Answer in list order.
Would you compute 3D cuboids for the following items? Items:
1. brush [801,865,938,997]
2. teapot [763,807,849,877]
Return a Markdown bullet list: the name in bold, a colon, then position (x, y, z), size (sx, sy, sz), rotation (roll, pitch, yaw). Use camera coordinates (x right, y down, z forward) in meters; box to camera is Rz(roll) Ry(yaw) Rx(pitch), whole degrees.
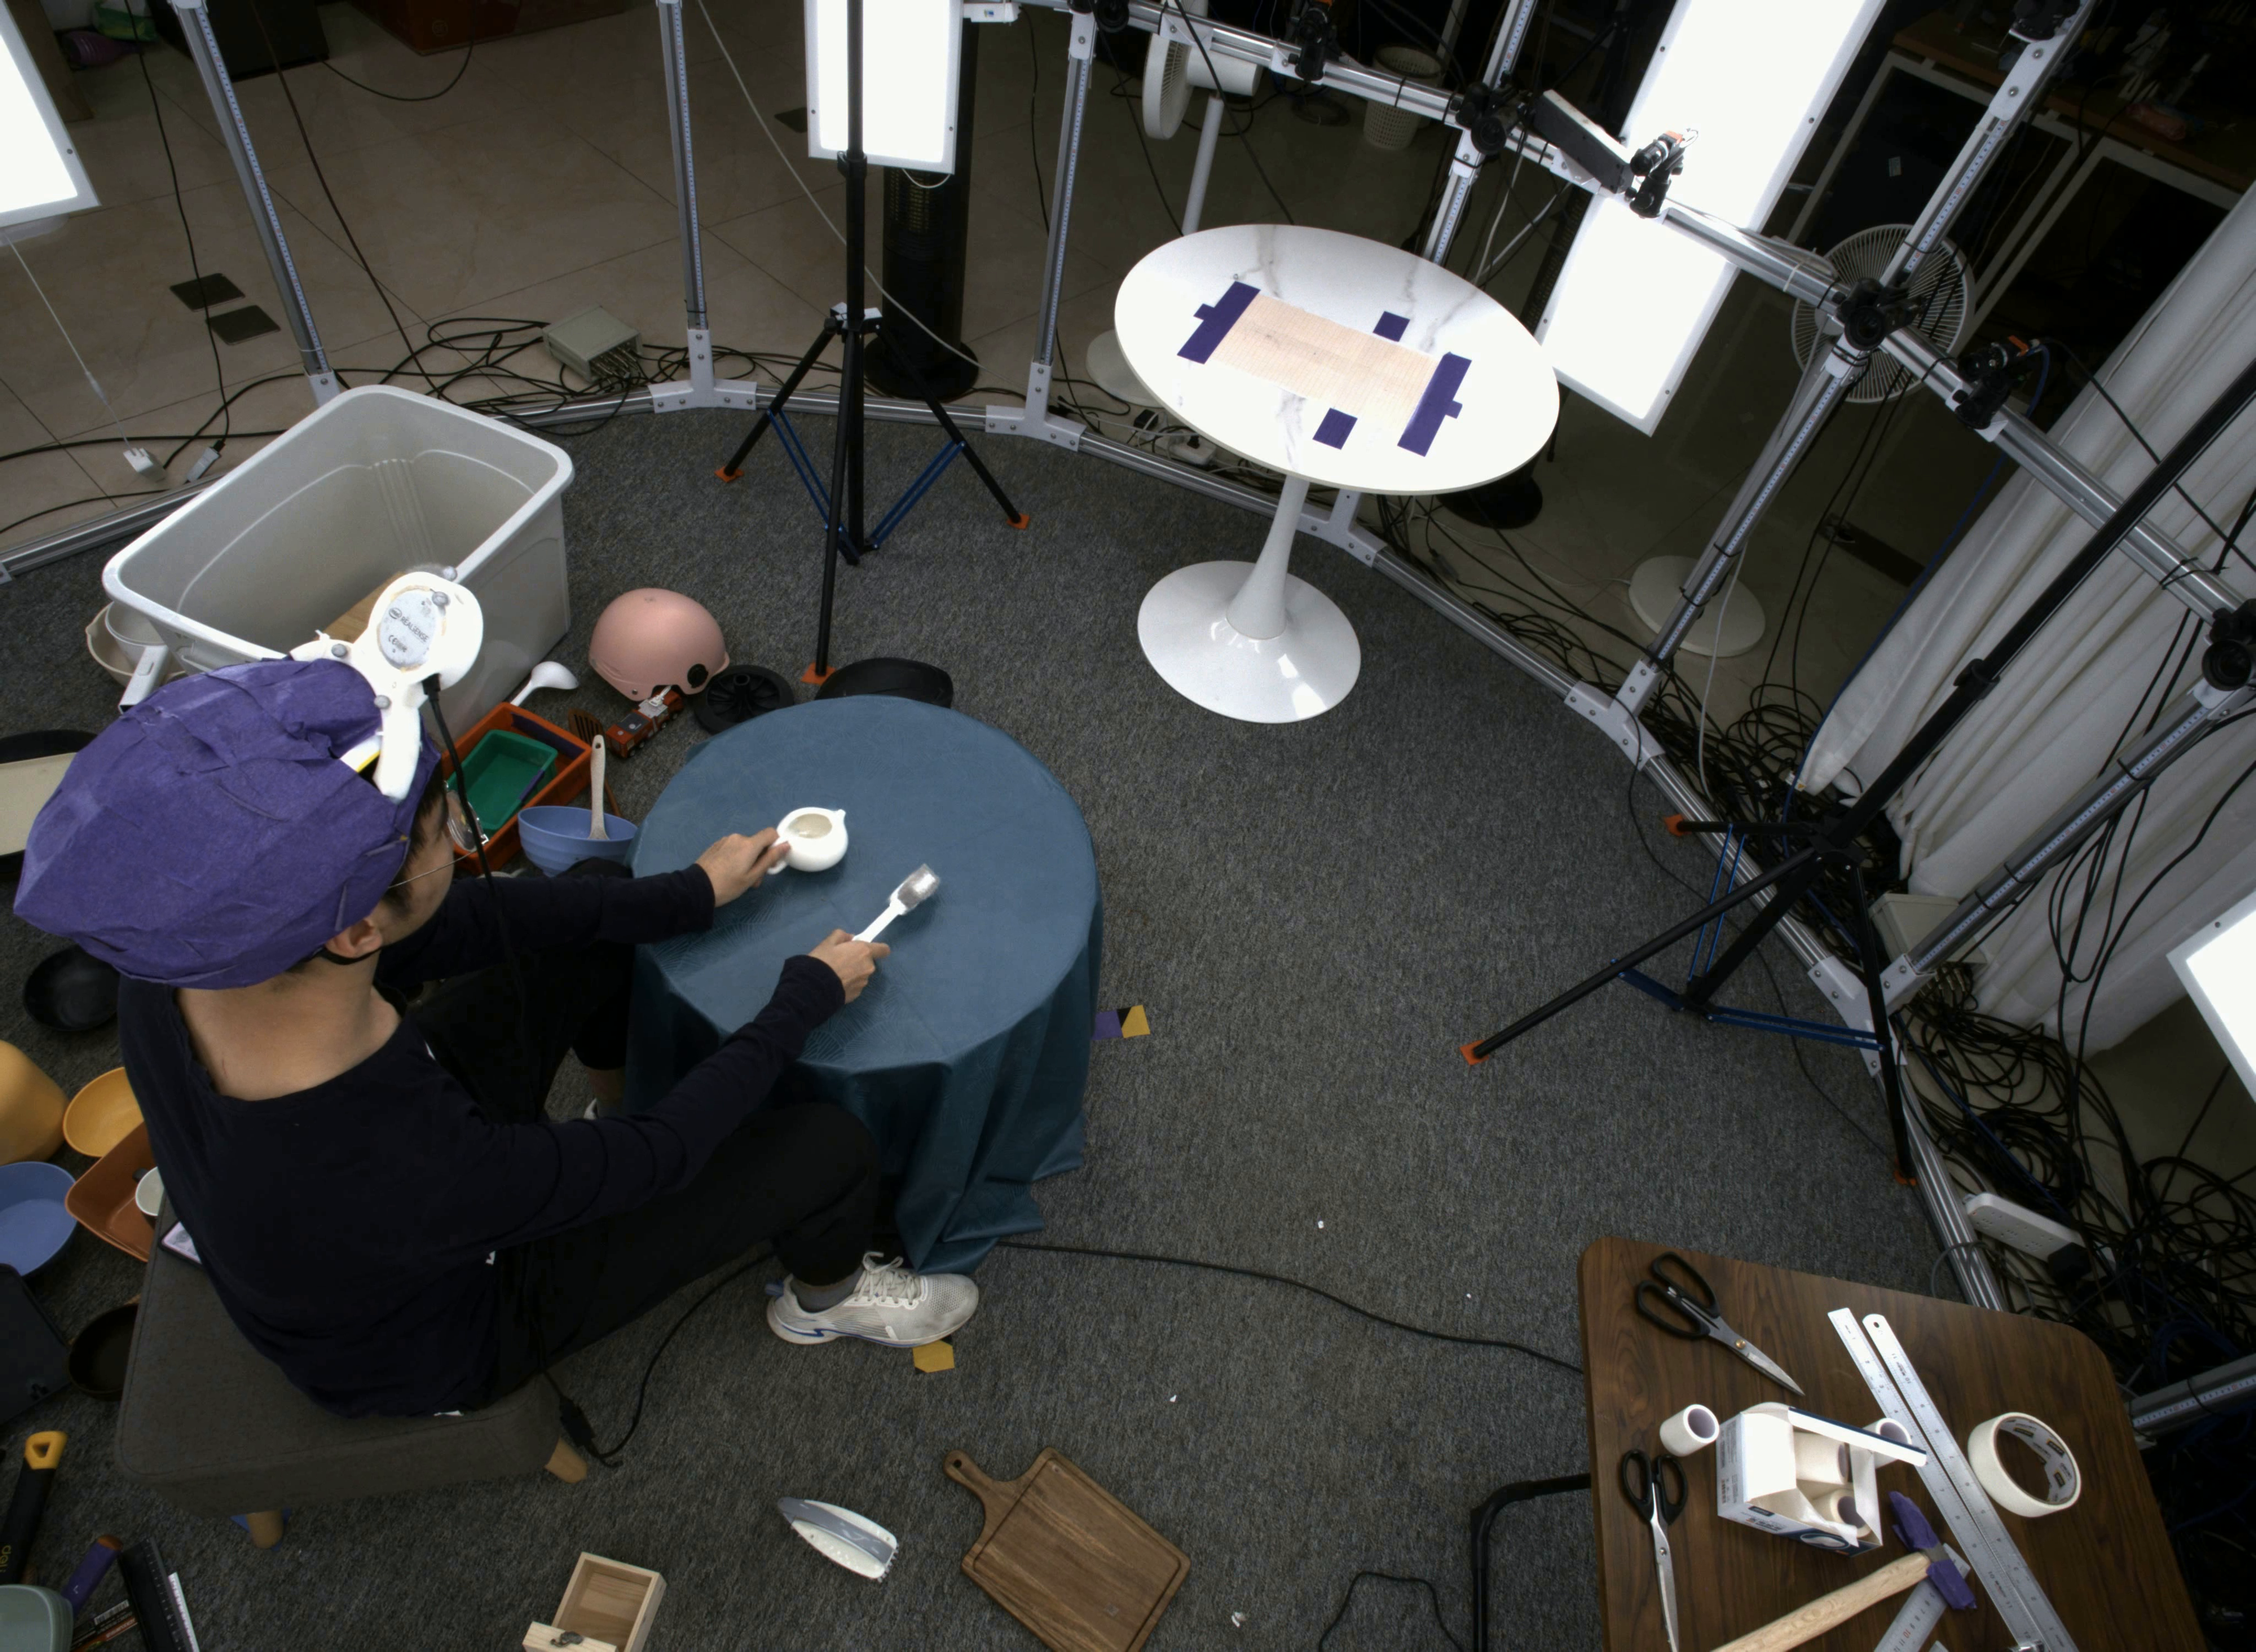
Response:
- **brush**: position (-0.314, 0.124, 1.604), size (0.035, 0.050, 0.243), rotation (50, 43, -7)
- **teapot**: position (-0.416, 0.023, 1.670), size (0.091, 0.058, 0.127), rotation (38, 49, 18)
